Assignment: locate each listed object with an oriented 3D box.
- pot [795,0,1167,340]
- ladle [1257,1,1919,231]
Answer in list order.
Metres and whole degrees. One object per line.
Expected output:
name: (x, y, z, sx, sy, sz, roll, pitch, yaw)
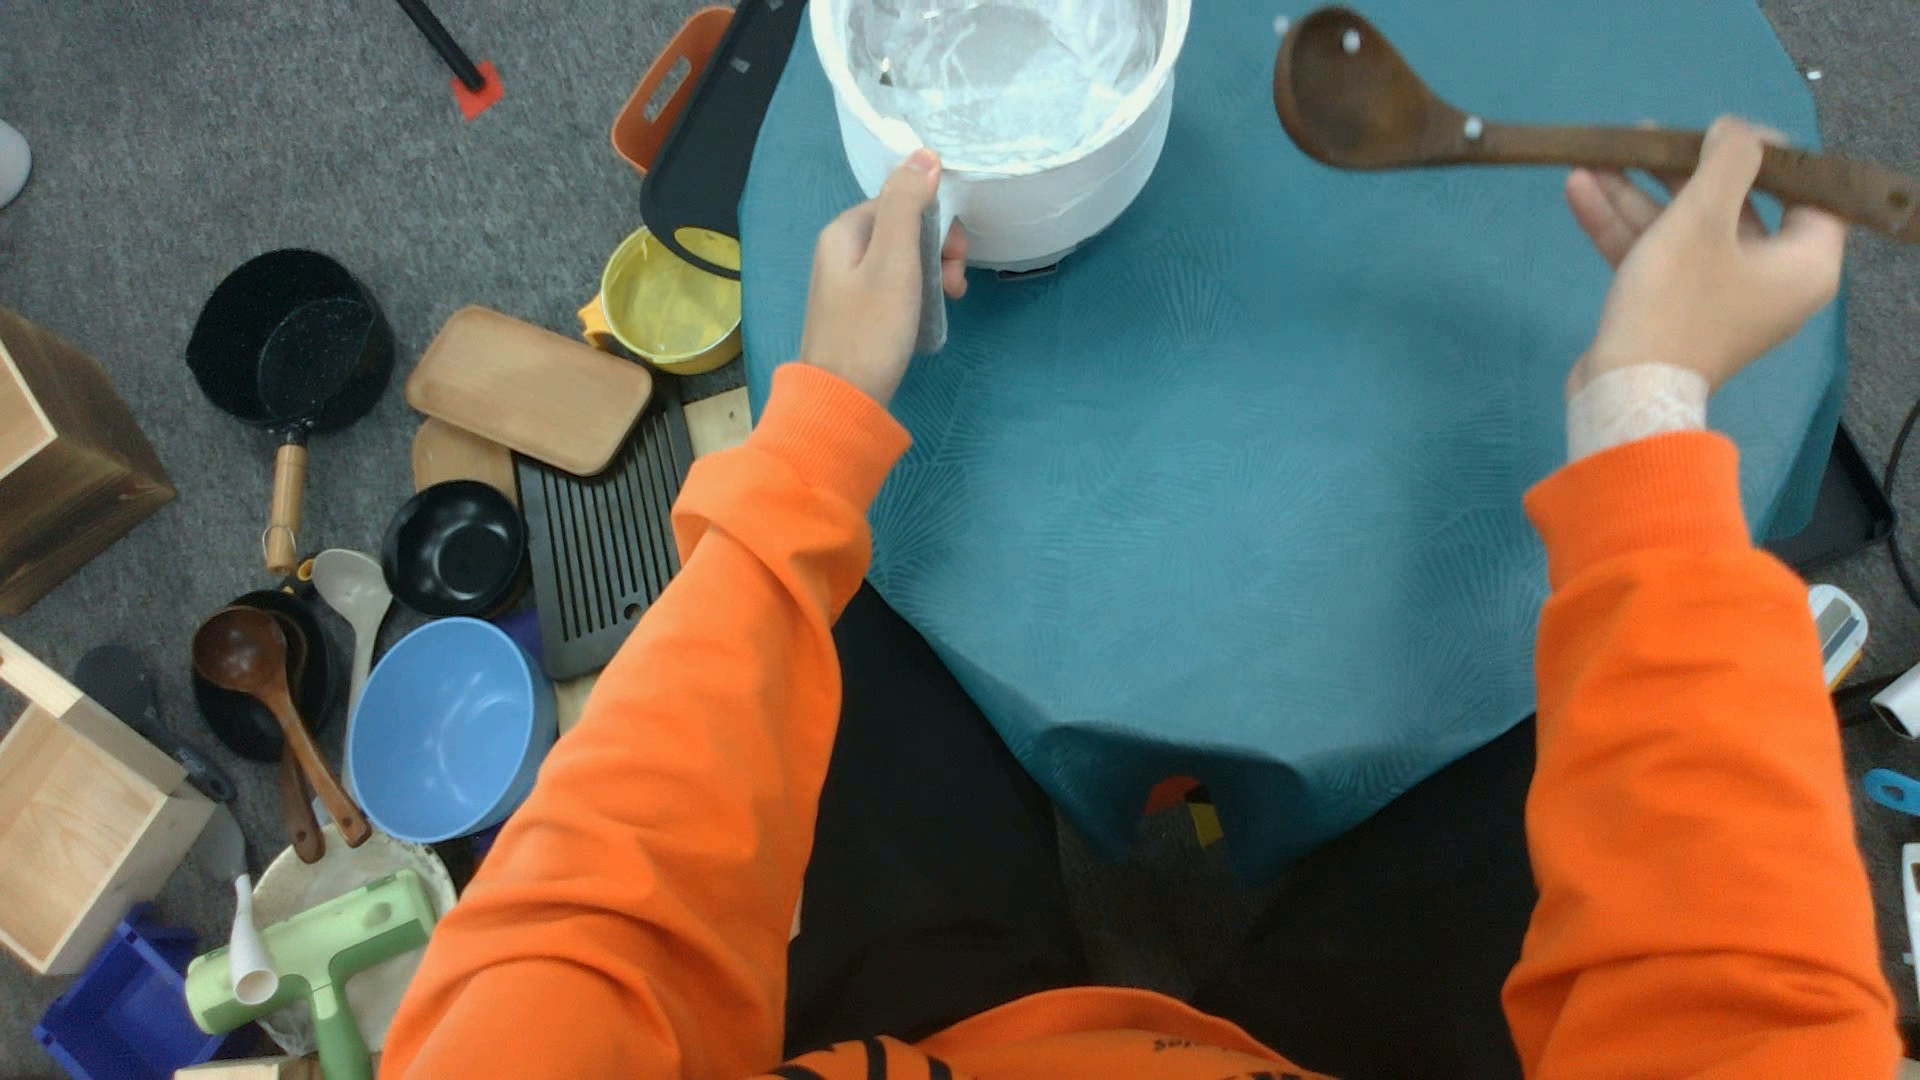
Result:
pot: (0.004, -0.222, 0.703, 0.178, 0.136, 0.234, 18, 80, 6)
ladle: (0.264, -0.184, 0.596, 0.274, 0.071, 0.076, 17, 74, 27)
